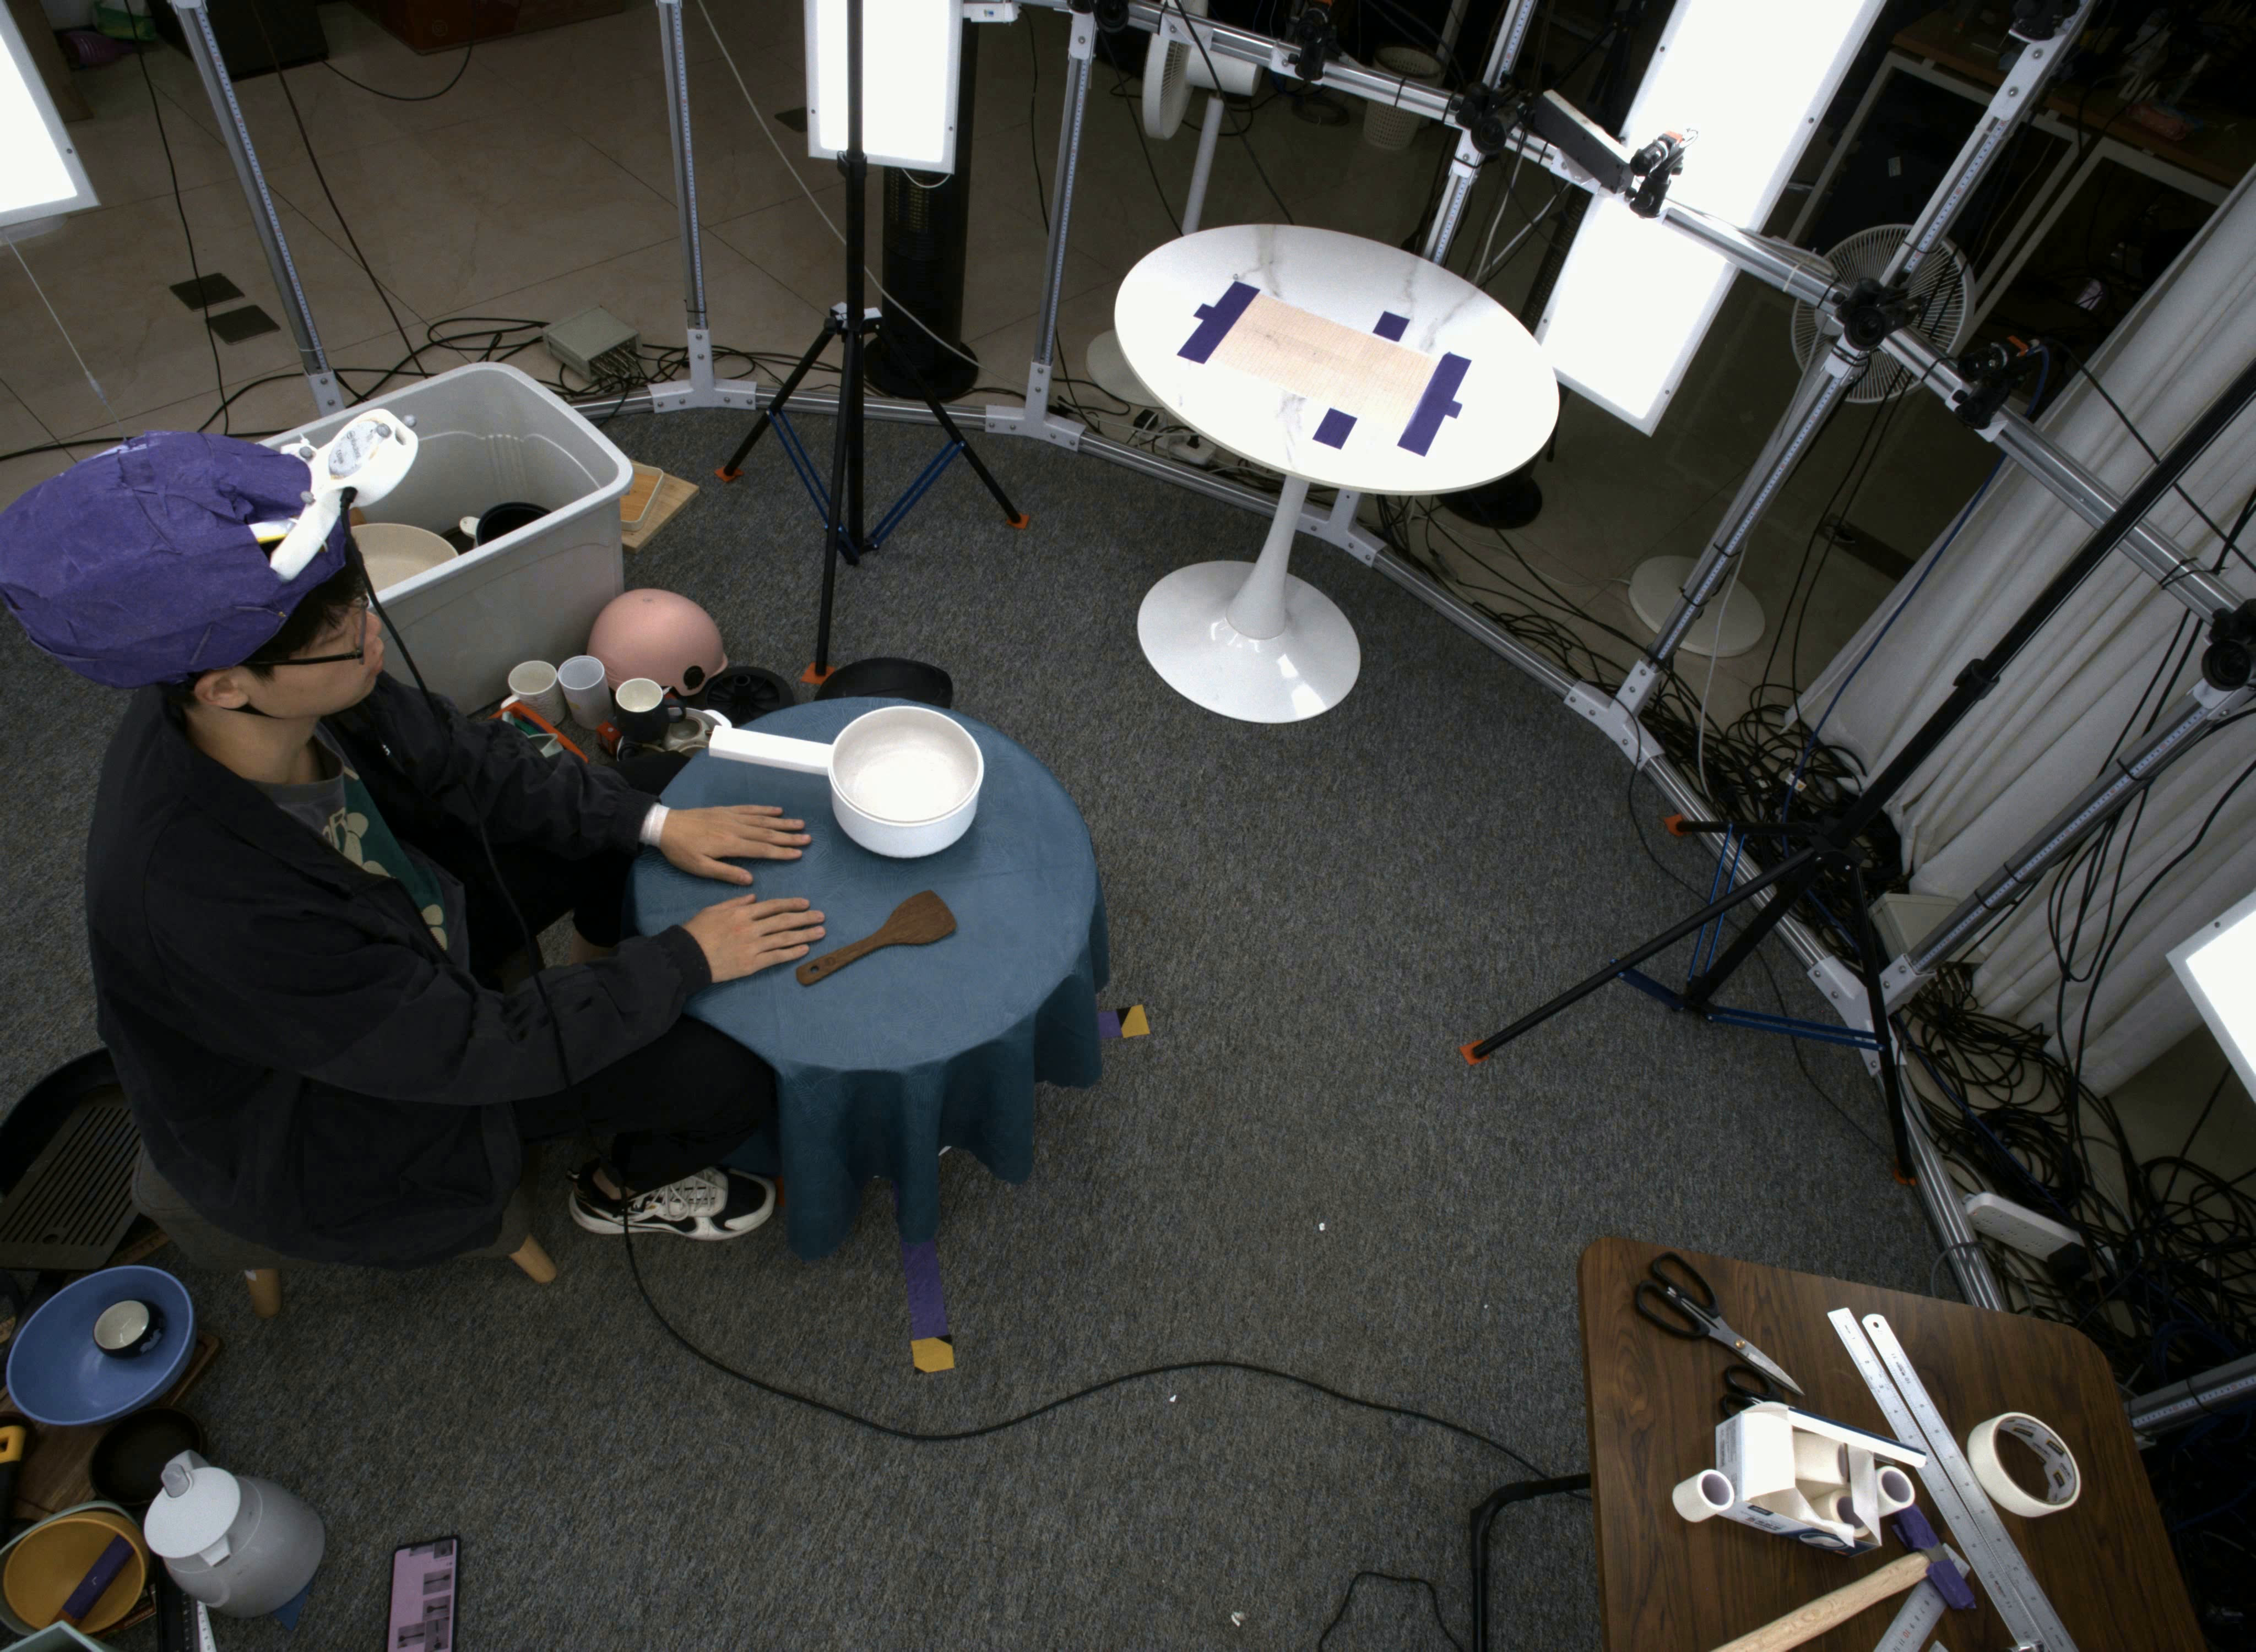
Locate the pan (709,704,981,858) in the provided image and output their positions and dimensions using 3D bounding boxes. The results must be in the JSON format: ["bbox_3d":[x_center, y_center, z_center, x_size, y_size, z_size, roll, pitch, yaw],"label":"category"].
[{"bbox_3d":[-0.373,-0.066,1.724,0.353,0.104,0.198,8,53,-5],"label":"pan"}]

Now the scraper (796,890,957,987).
[{"bbox_3d":[-0.319,0.146,1.638,0.212,0.011,0.074,-26,63,-28],"label":"scraper"}]
